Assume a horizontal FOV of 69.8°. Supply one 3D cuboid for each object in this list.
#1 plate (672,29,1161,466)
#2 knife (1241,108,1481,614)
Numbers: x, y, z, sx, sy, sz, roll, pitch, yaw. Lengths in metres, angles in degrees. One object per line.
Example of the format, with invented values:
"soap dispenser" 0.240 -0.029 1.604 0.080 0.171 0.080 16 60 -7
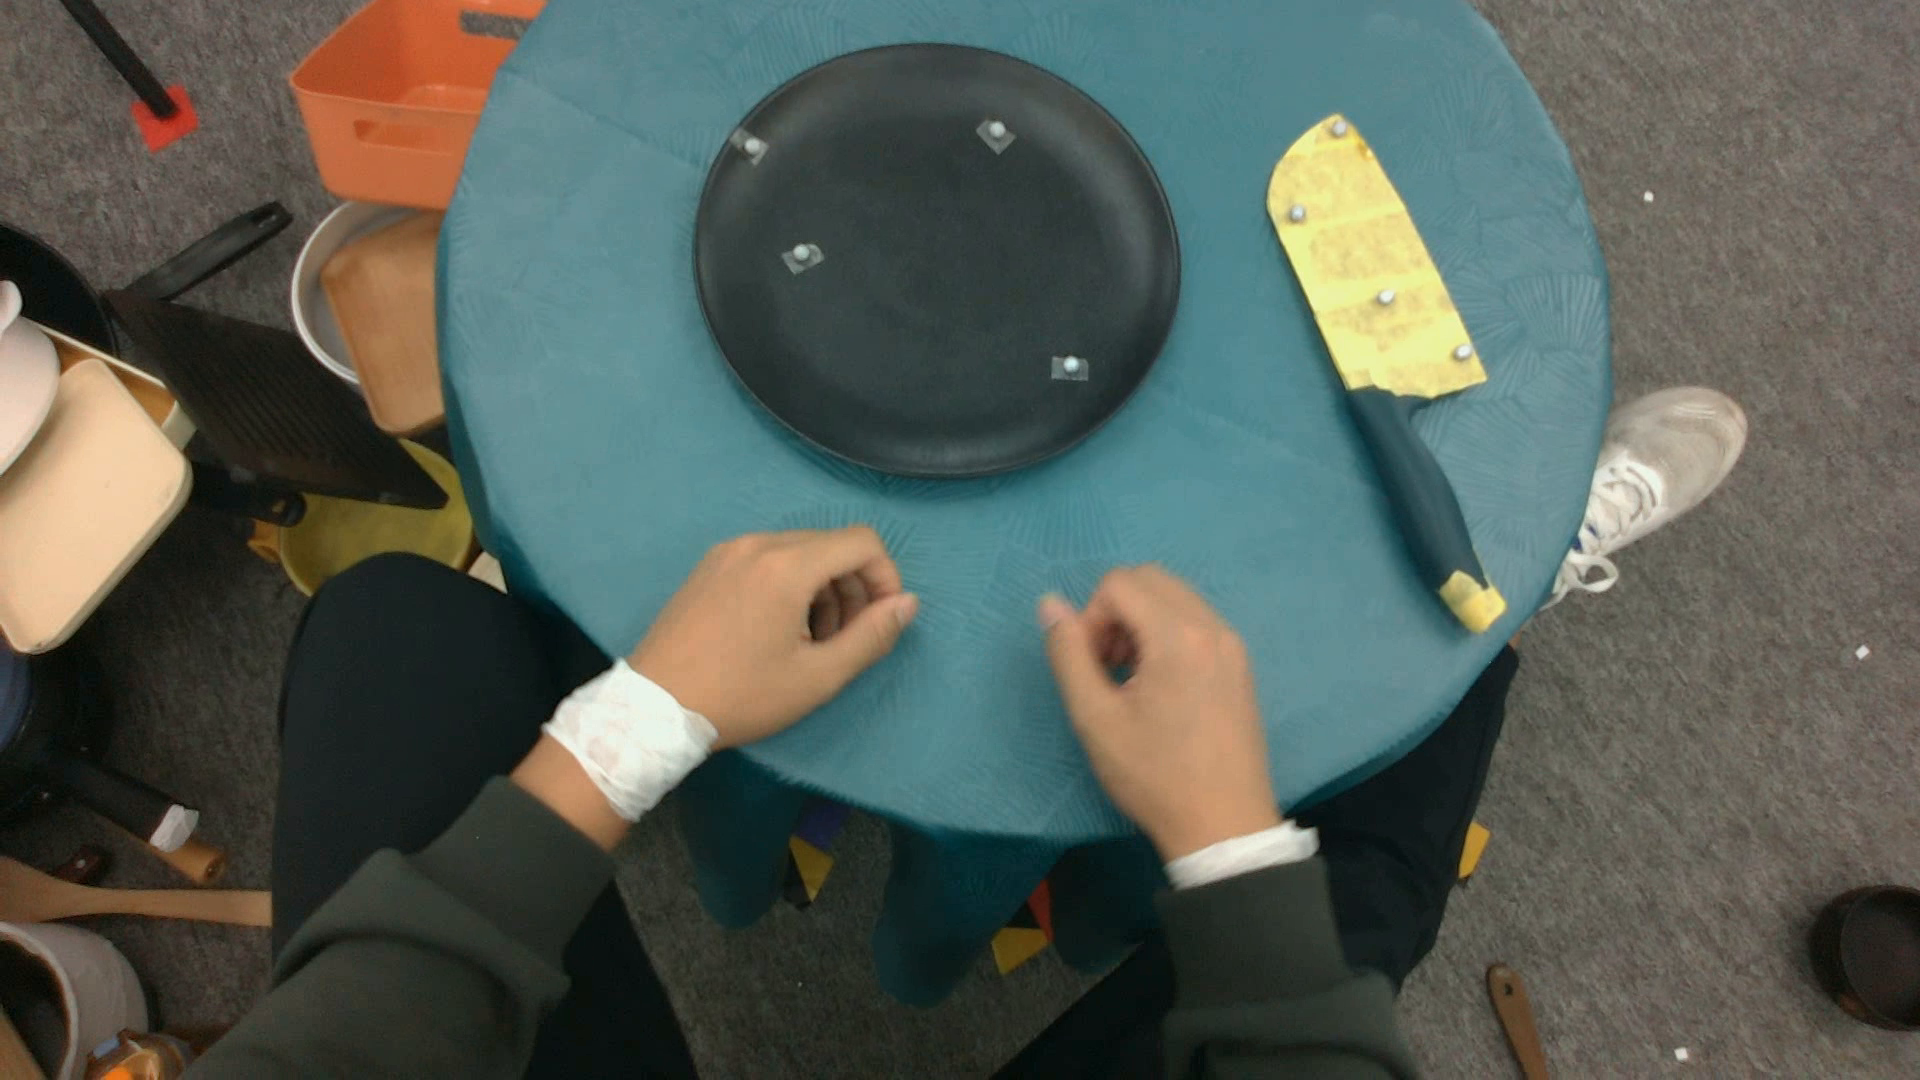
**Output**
"plate" -0.020 -0.149 0.692 0.244 0.023 0.245 2 72 -5
"knife" 0.214 -0.101 0.706 0.081 0.027 0.290 -13 73 -8
